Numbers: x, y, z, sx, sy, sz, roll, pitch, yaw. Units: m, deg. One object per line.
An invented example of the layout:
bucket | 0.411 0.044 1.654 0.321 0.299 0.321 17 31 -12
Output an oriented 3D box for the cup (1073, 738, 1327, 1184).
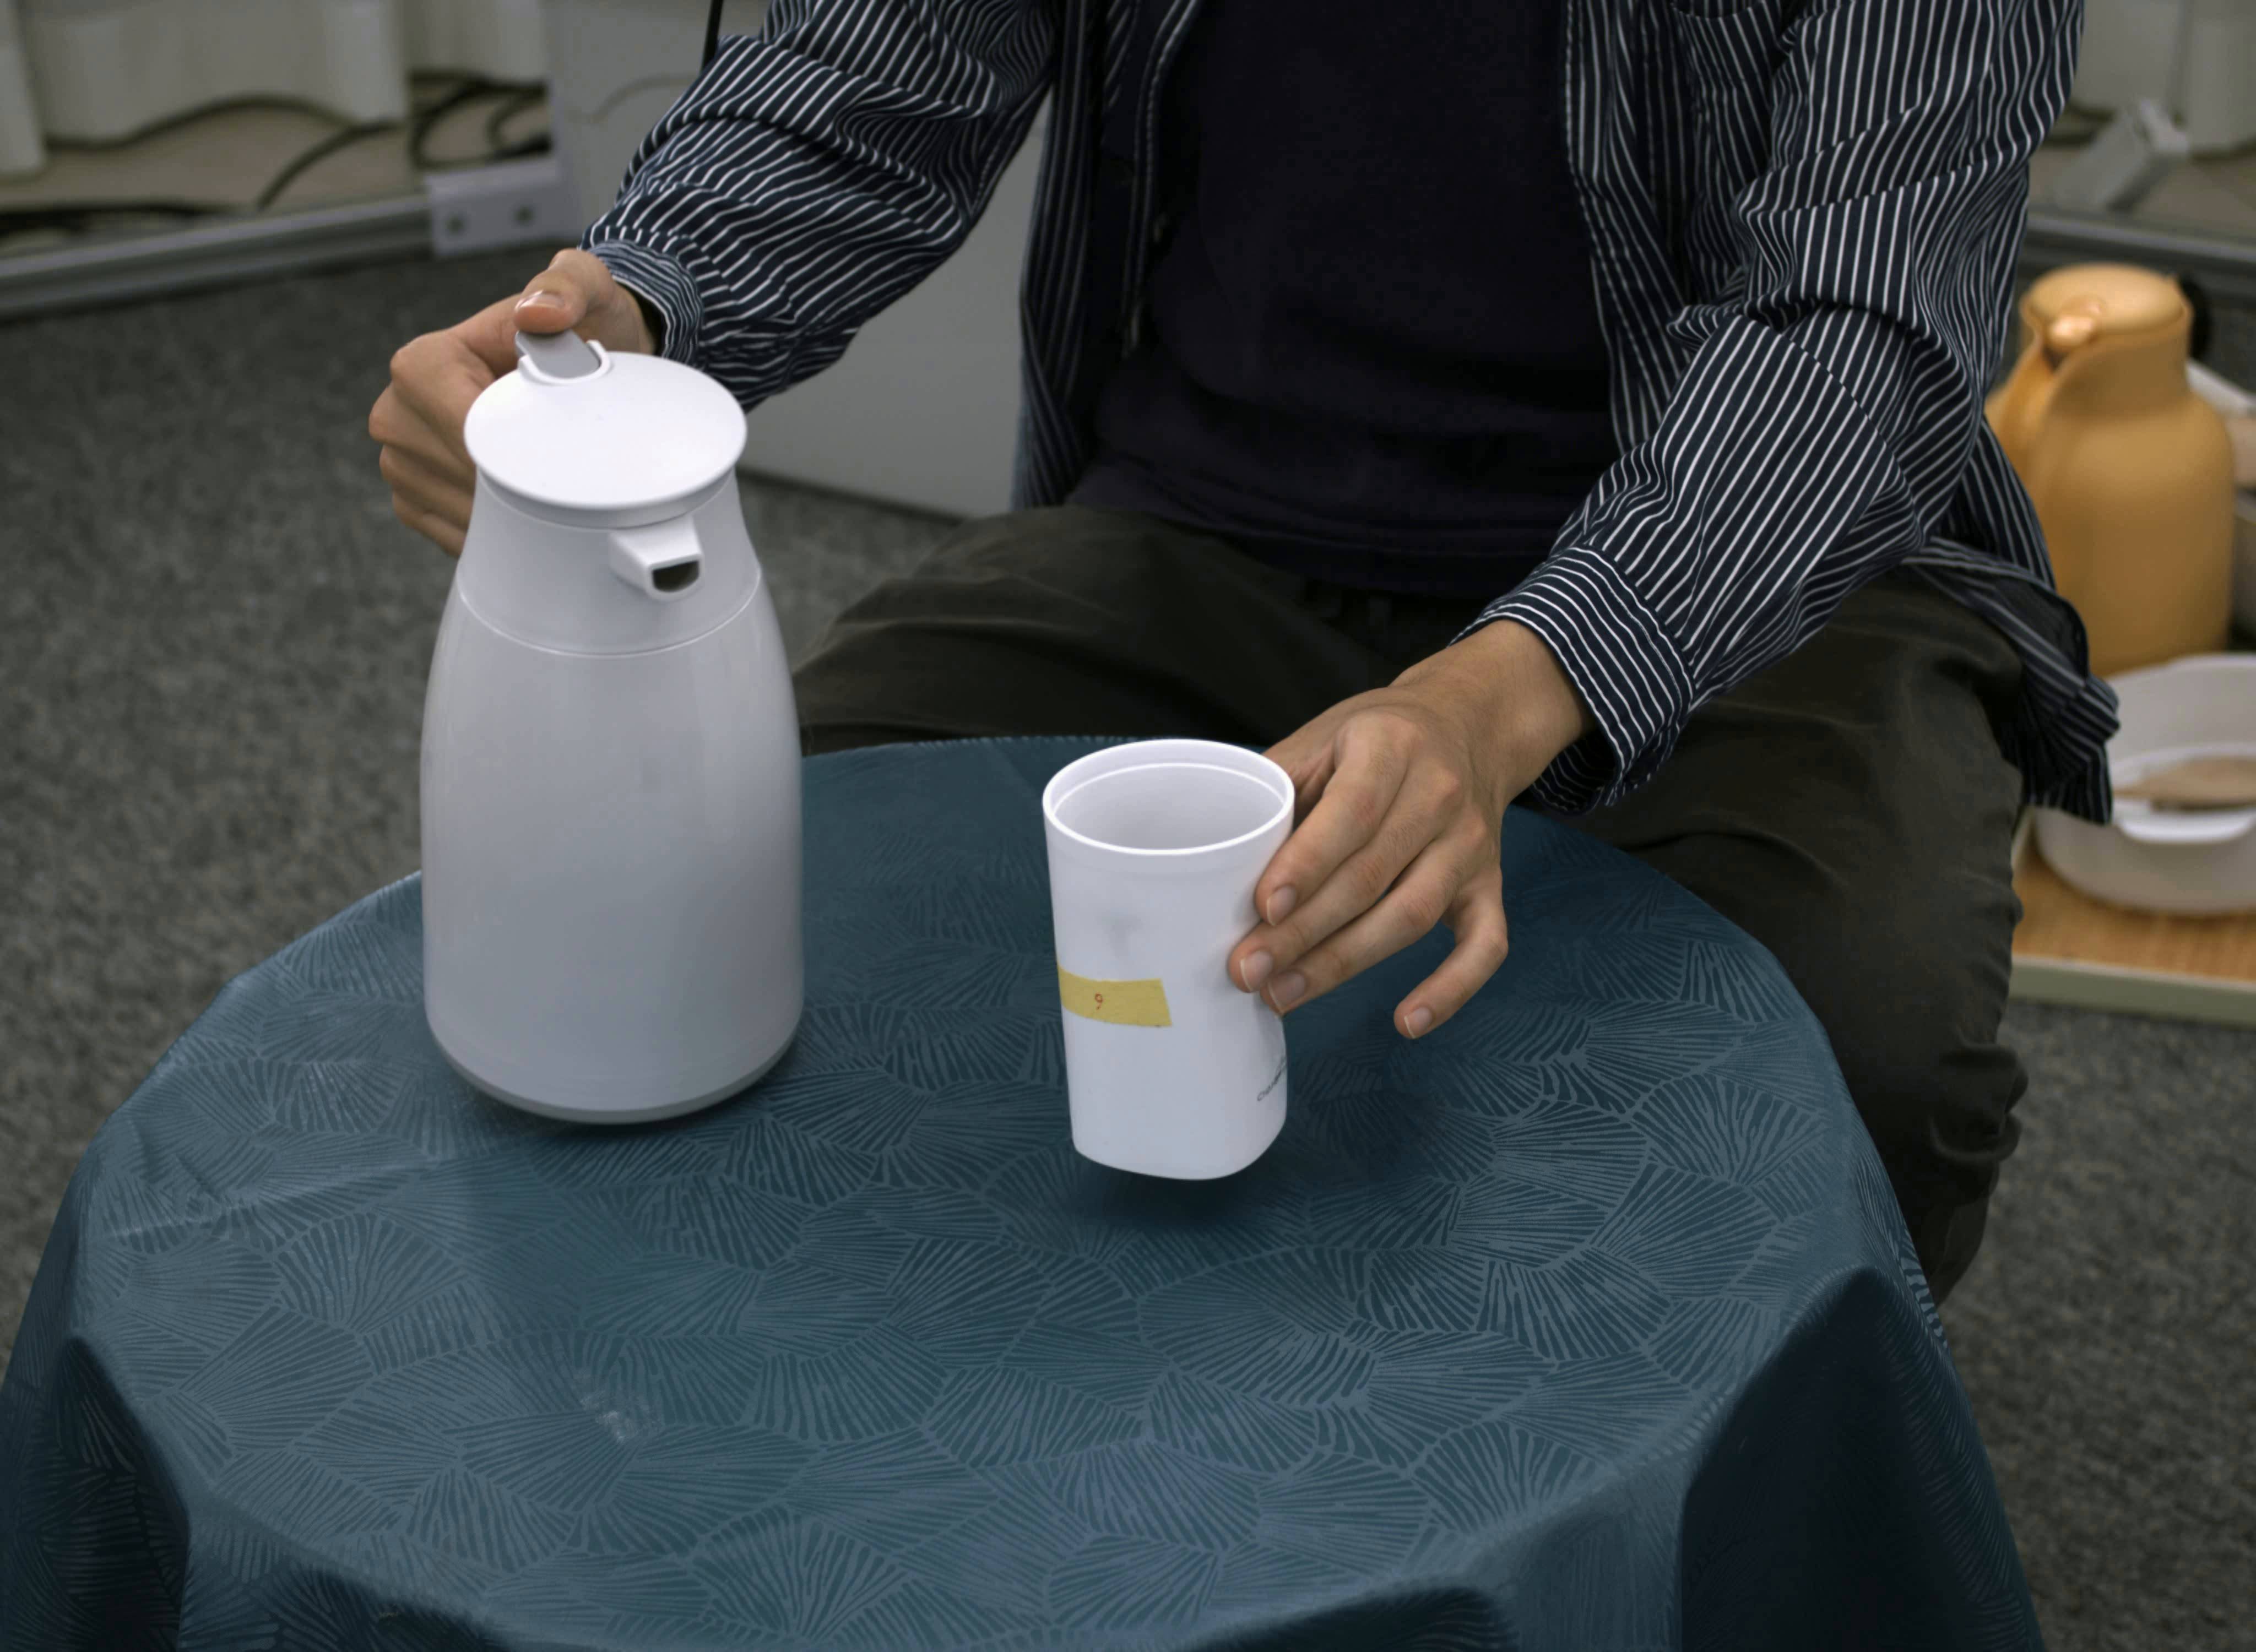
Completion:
cup | 0.026 0.045 1.816 0.081 0.124 0.083 -2 26 1

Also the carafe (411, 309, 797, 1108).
carafe | -0.186 -0.051 1.889 0.133 0.245 0.169 -20 43 -25
